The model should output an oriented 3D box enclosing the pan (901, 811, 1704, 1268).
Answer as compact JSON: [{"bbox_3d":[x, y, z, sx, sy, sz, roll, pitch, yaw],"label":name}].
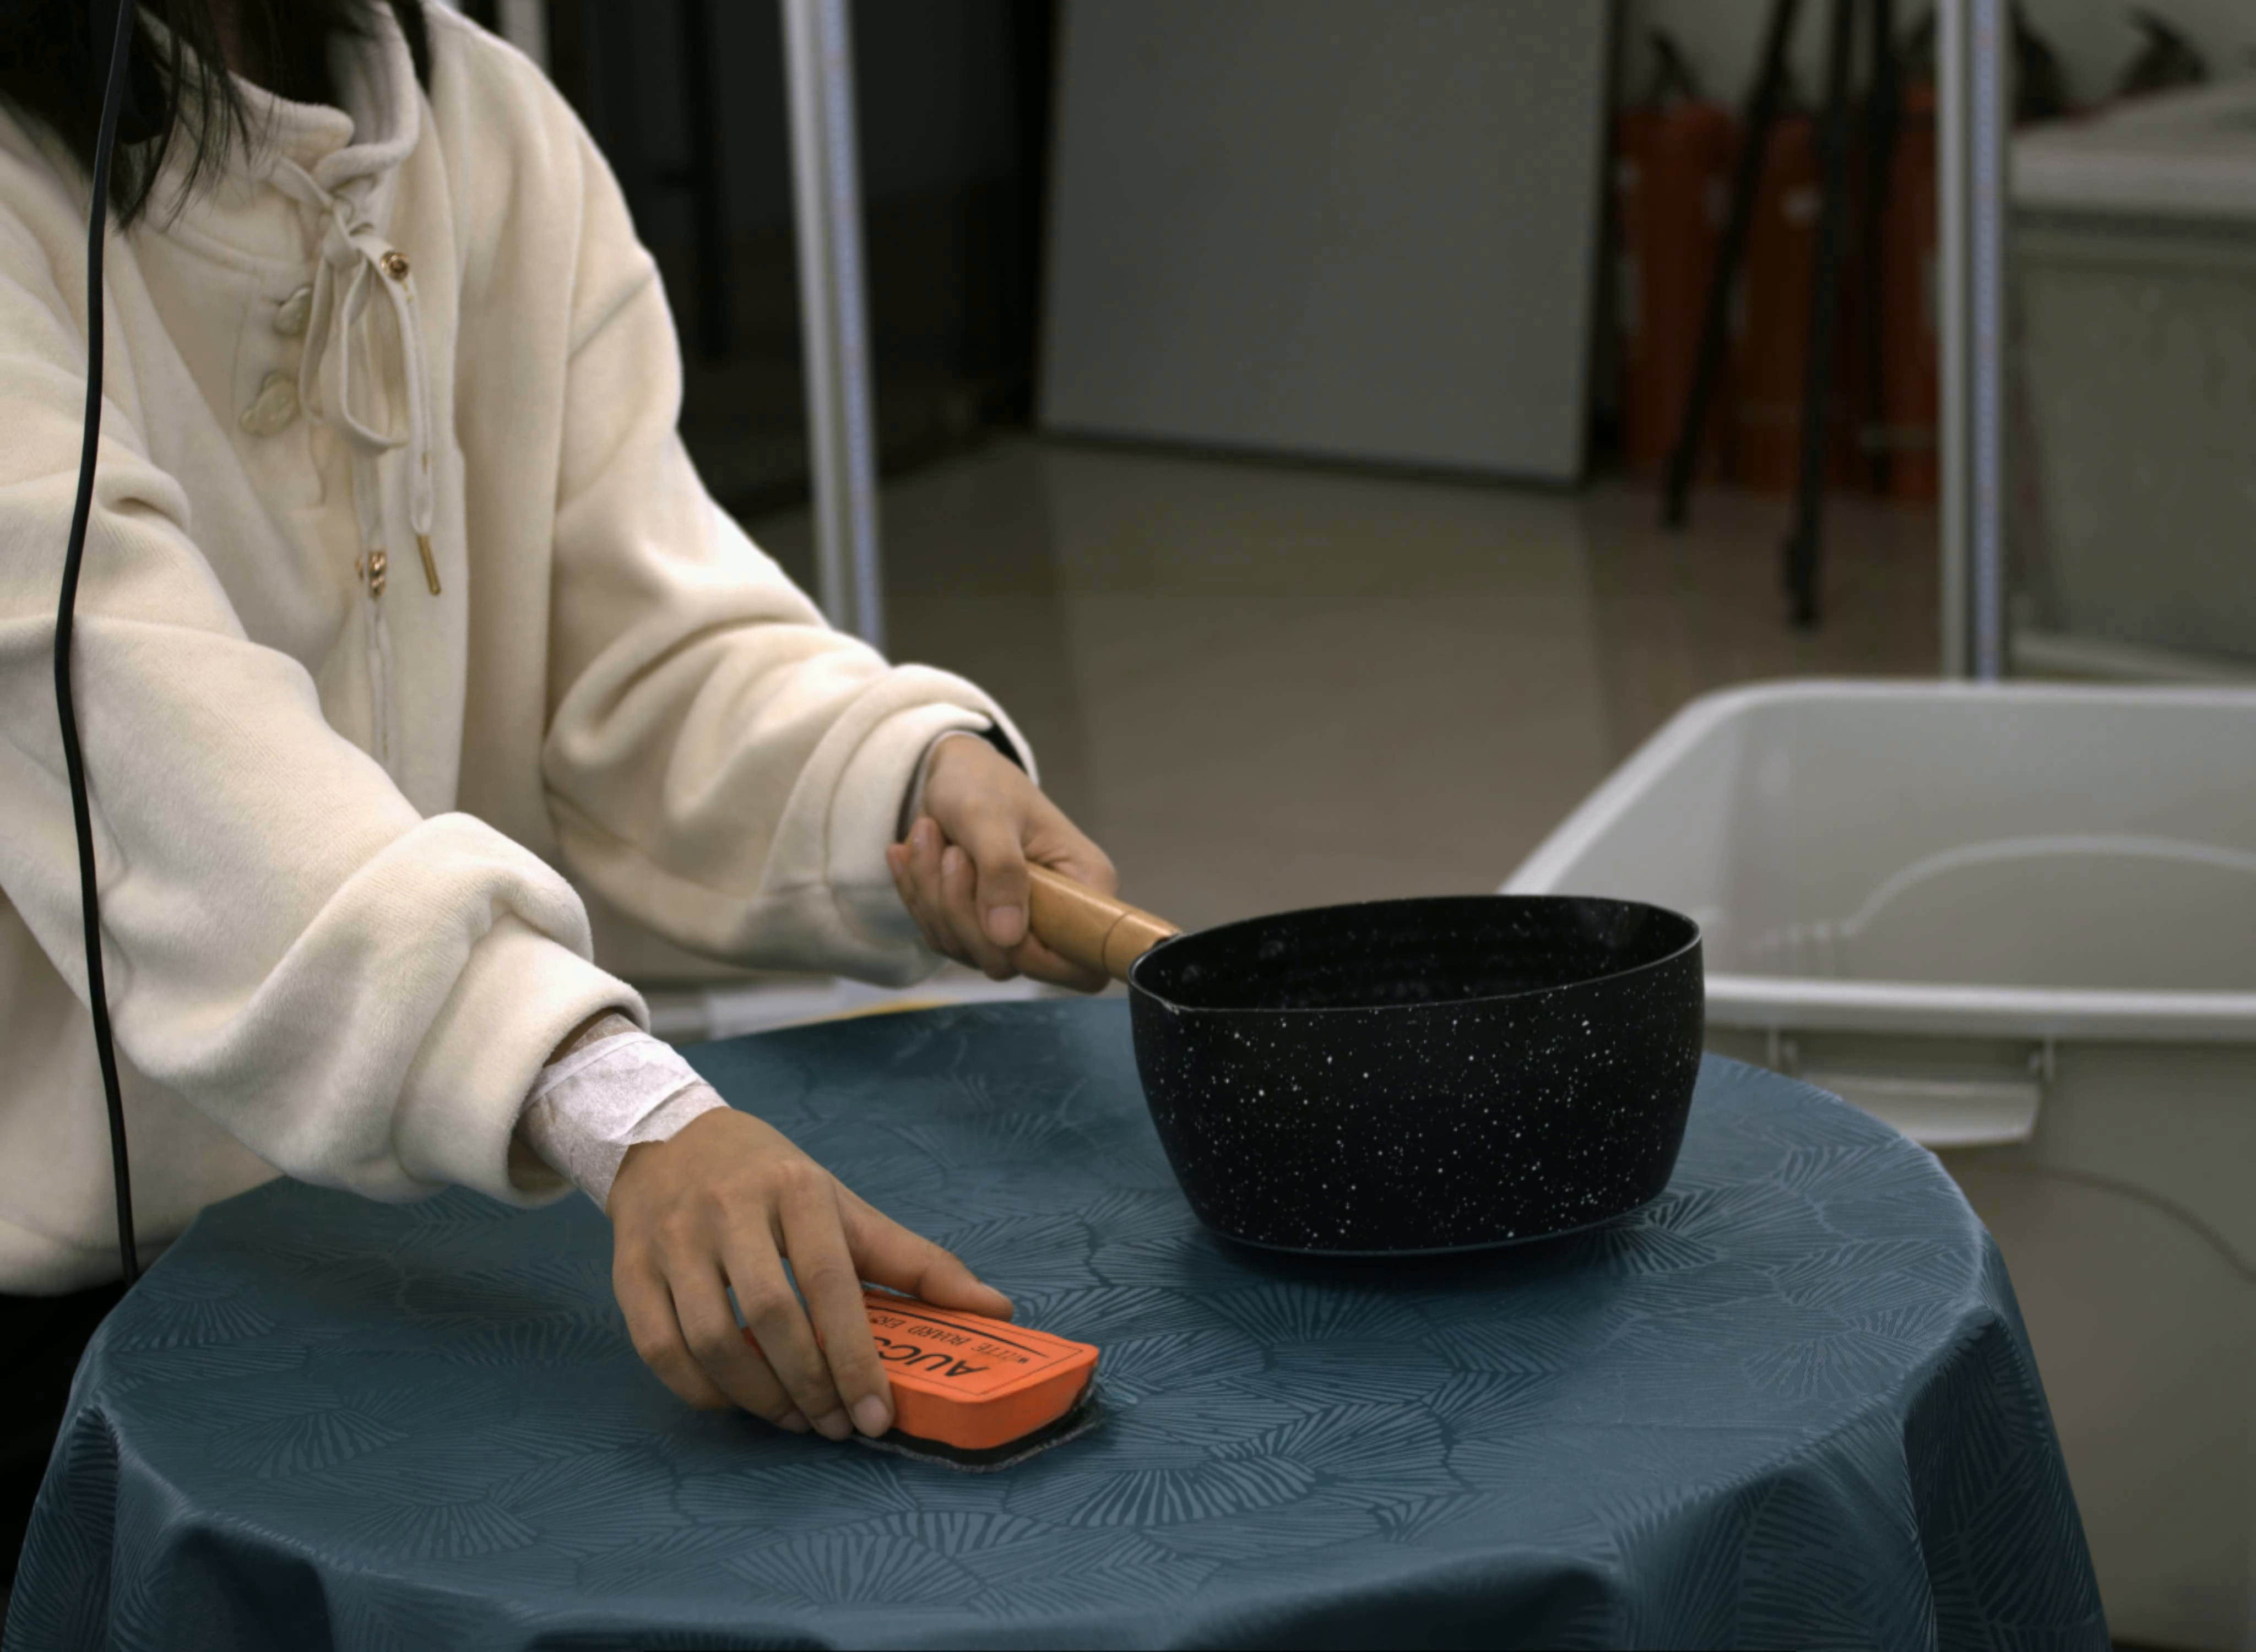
[{"bbox_3d":[0.039,0.062,1.767,0.203,0.109,0.346,-14,14,-40],"label":"pan"}]

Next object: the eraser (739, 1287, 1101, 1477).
[{"bbox_3d":[-0.061,0.161,1.576,0.058,0.023,0.109,-19,19,-41],"label":"eraser"}]
